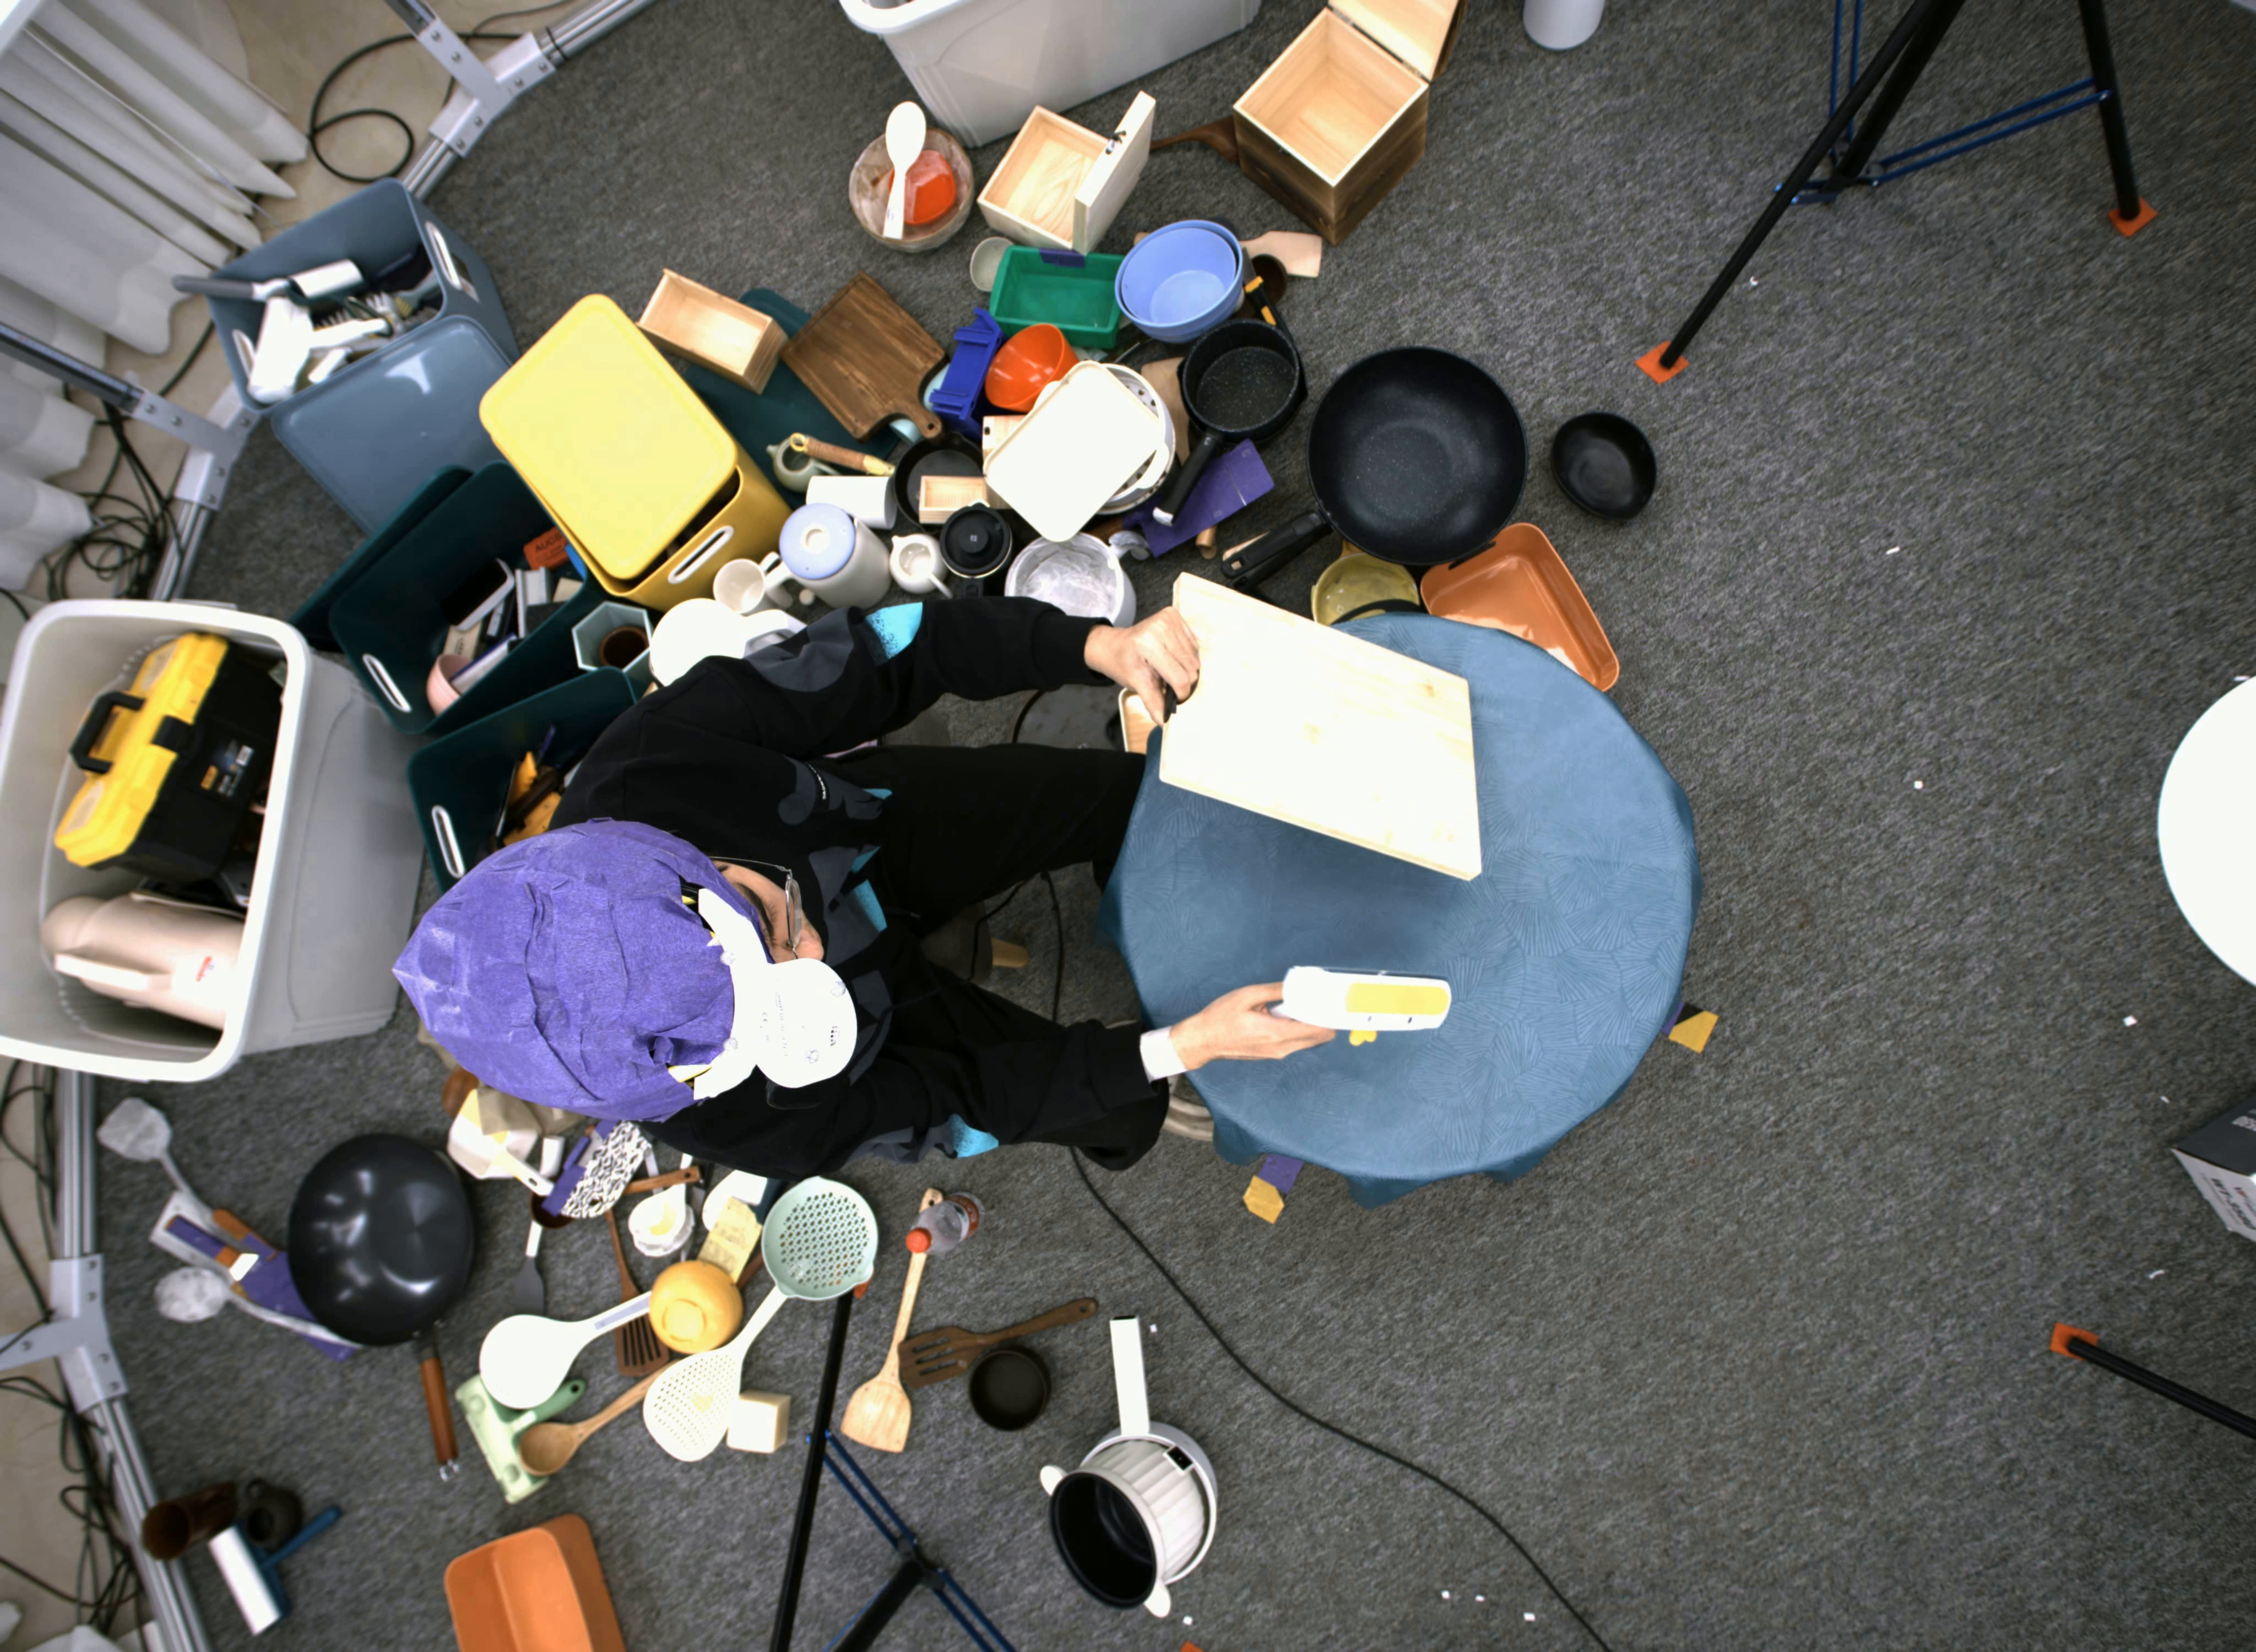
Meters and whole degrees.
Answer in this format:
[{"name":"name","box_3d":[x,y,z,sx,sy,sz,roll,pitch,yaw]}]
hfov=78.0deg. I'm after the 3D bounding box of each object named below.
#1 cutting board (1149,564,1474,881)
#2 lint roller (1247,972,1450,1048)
[{"name":"cutting board","box_3d":[0.186,-0.101,1.333,0.349,0.024,0.244,16,58,-19]},{"name":"lint roller","box_3d":[0.187,0.171,1.333,0.194,0.191,0.074,-6,86,52]}]
